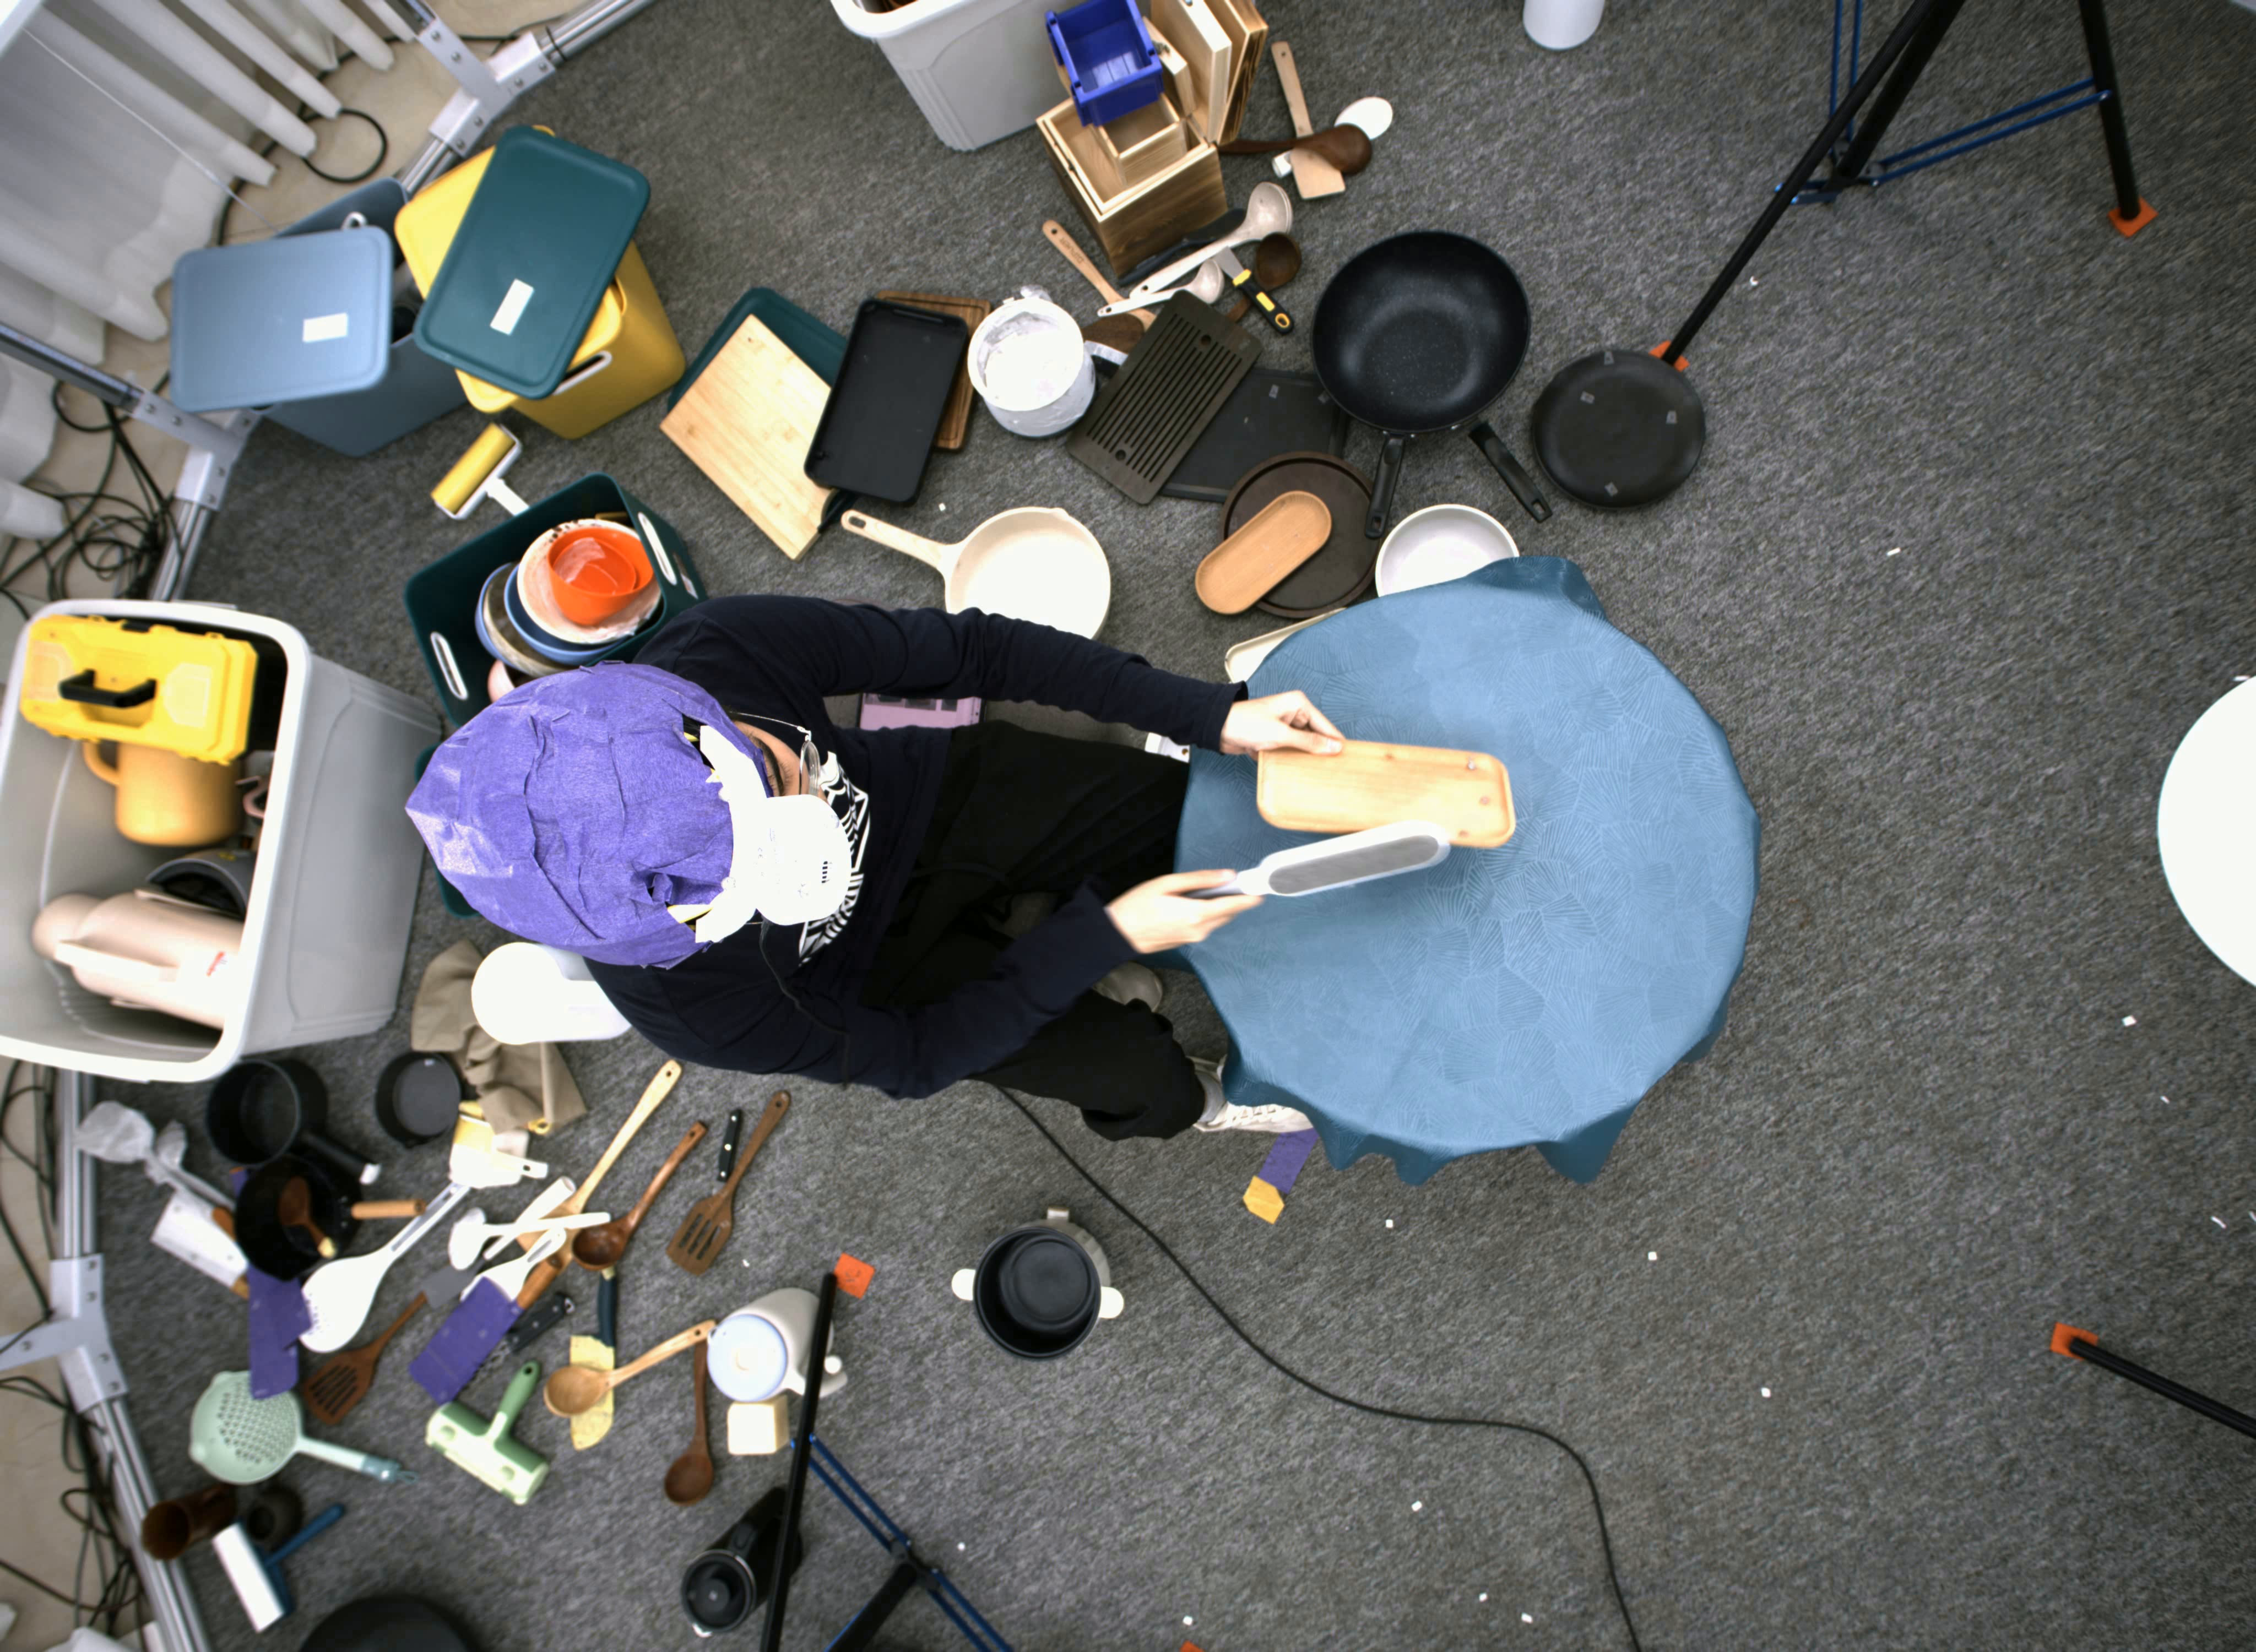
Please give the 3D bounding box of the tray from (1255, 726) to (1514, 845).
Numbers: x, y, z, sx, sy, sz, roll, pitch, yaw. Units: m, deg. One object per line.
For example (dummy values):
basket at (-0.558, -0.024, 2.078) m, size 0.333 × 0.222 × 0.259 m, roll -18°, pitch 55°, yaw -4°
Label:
tray at (0.250, -0.041, 1.351) m, size 0.251 × 0.023 × 0.127 m, roll 6°, pitch 44°, yaw 3°

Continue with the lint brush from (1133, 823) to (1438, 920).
lint brush at (0.148, 0.047, 1.341) m, size 0.312 × 0.061 × 0.020 m, roll -15°, pitch 54°, yaw 19°
